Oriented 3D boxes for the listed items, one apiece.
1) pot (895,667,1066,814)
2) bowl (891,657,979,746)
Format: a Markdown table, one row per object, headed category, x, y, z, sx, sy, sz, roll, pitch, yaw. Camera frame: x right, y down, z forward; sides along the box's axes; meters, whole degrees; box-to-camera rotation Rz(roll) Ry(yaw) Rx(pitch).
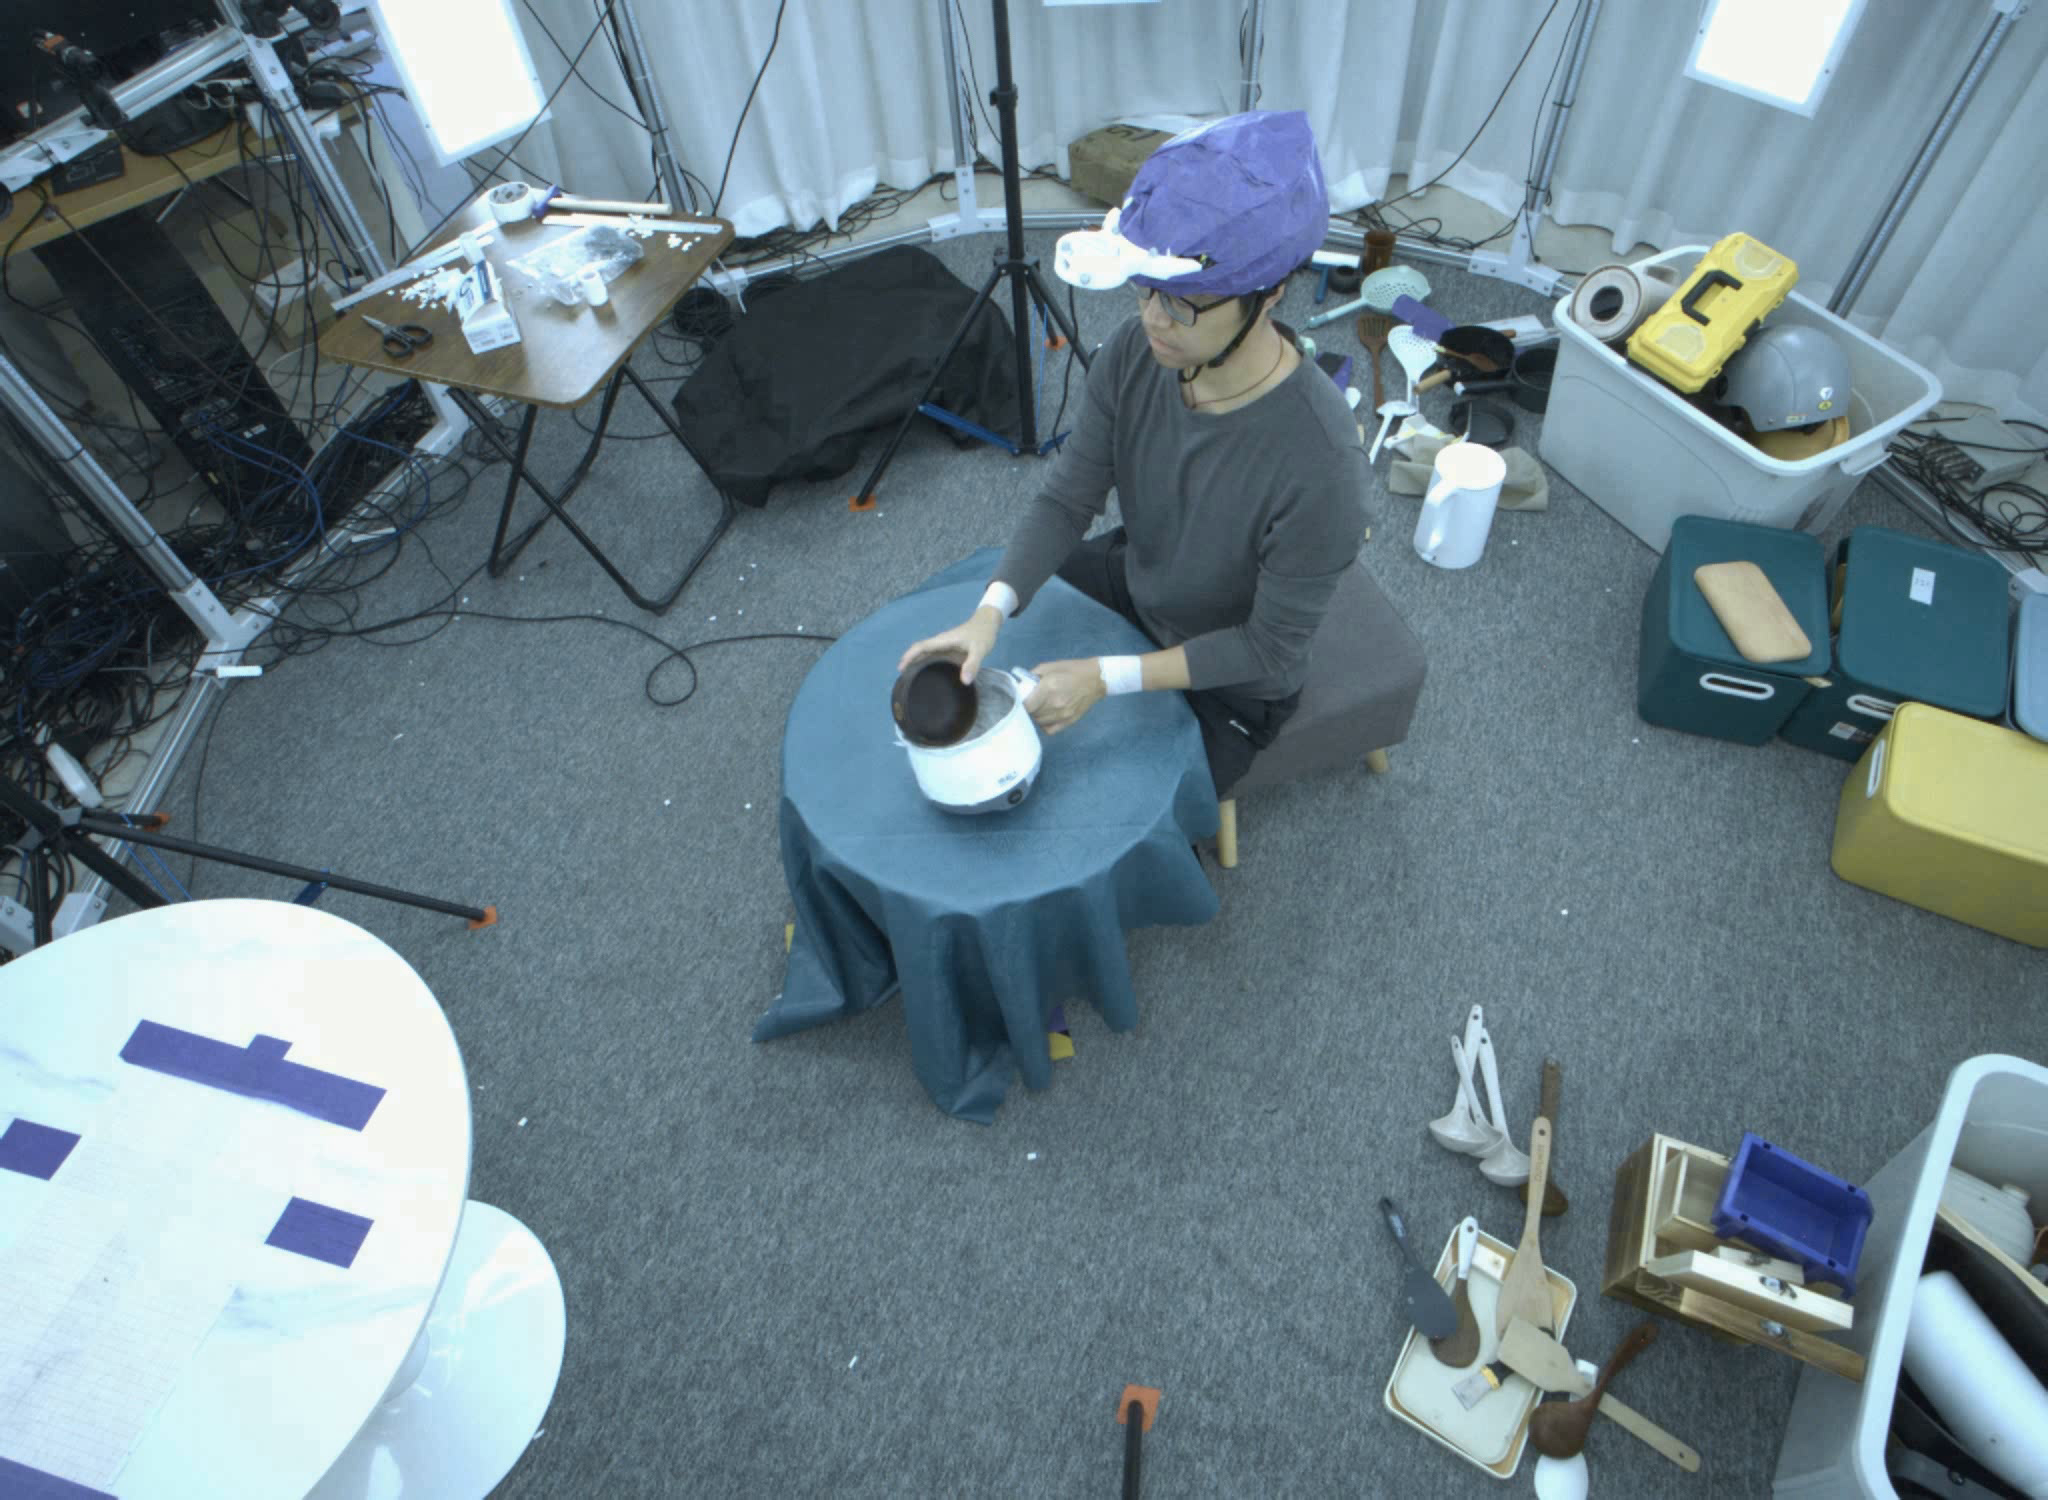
| category | x | y | z | sx | sy | sz | roll | pitch | yaw |
| --- | --- | --- | --- | --- | --- | --- | --- | --- | --- |
| pot | -0.051 | -0.025 | 1.708 | 0.235 | 0.139 | 0.174 | -34 | 41 | -19 |
| bowl | -0.127 | -0.065 | 1.641 | 0.068 | 0.120 | 0.118 | 4 | 45 | 51 |
